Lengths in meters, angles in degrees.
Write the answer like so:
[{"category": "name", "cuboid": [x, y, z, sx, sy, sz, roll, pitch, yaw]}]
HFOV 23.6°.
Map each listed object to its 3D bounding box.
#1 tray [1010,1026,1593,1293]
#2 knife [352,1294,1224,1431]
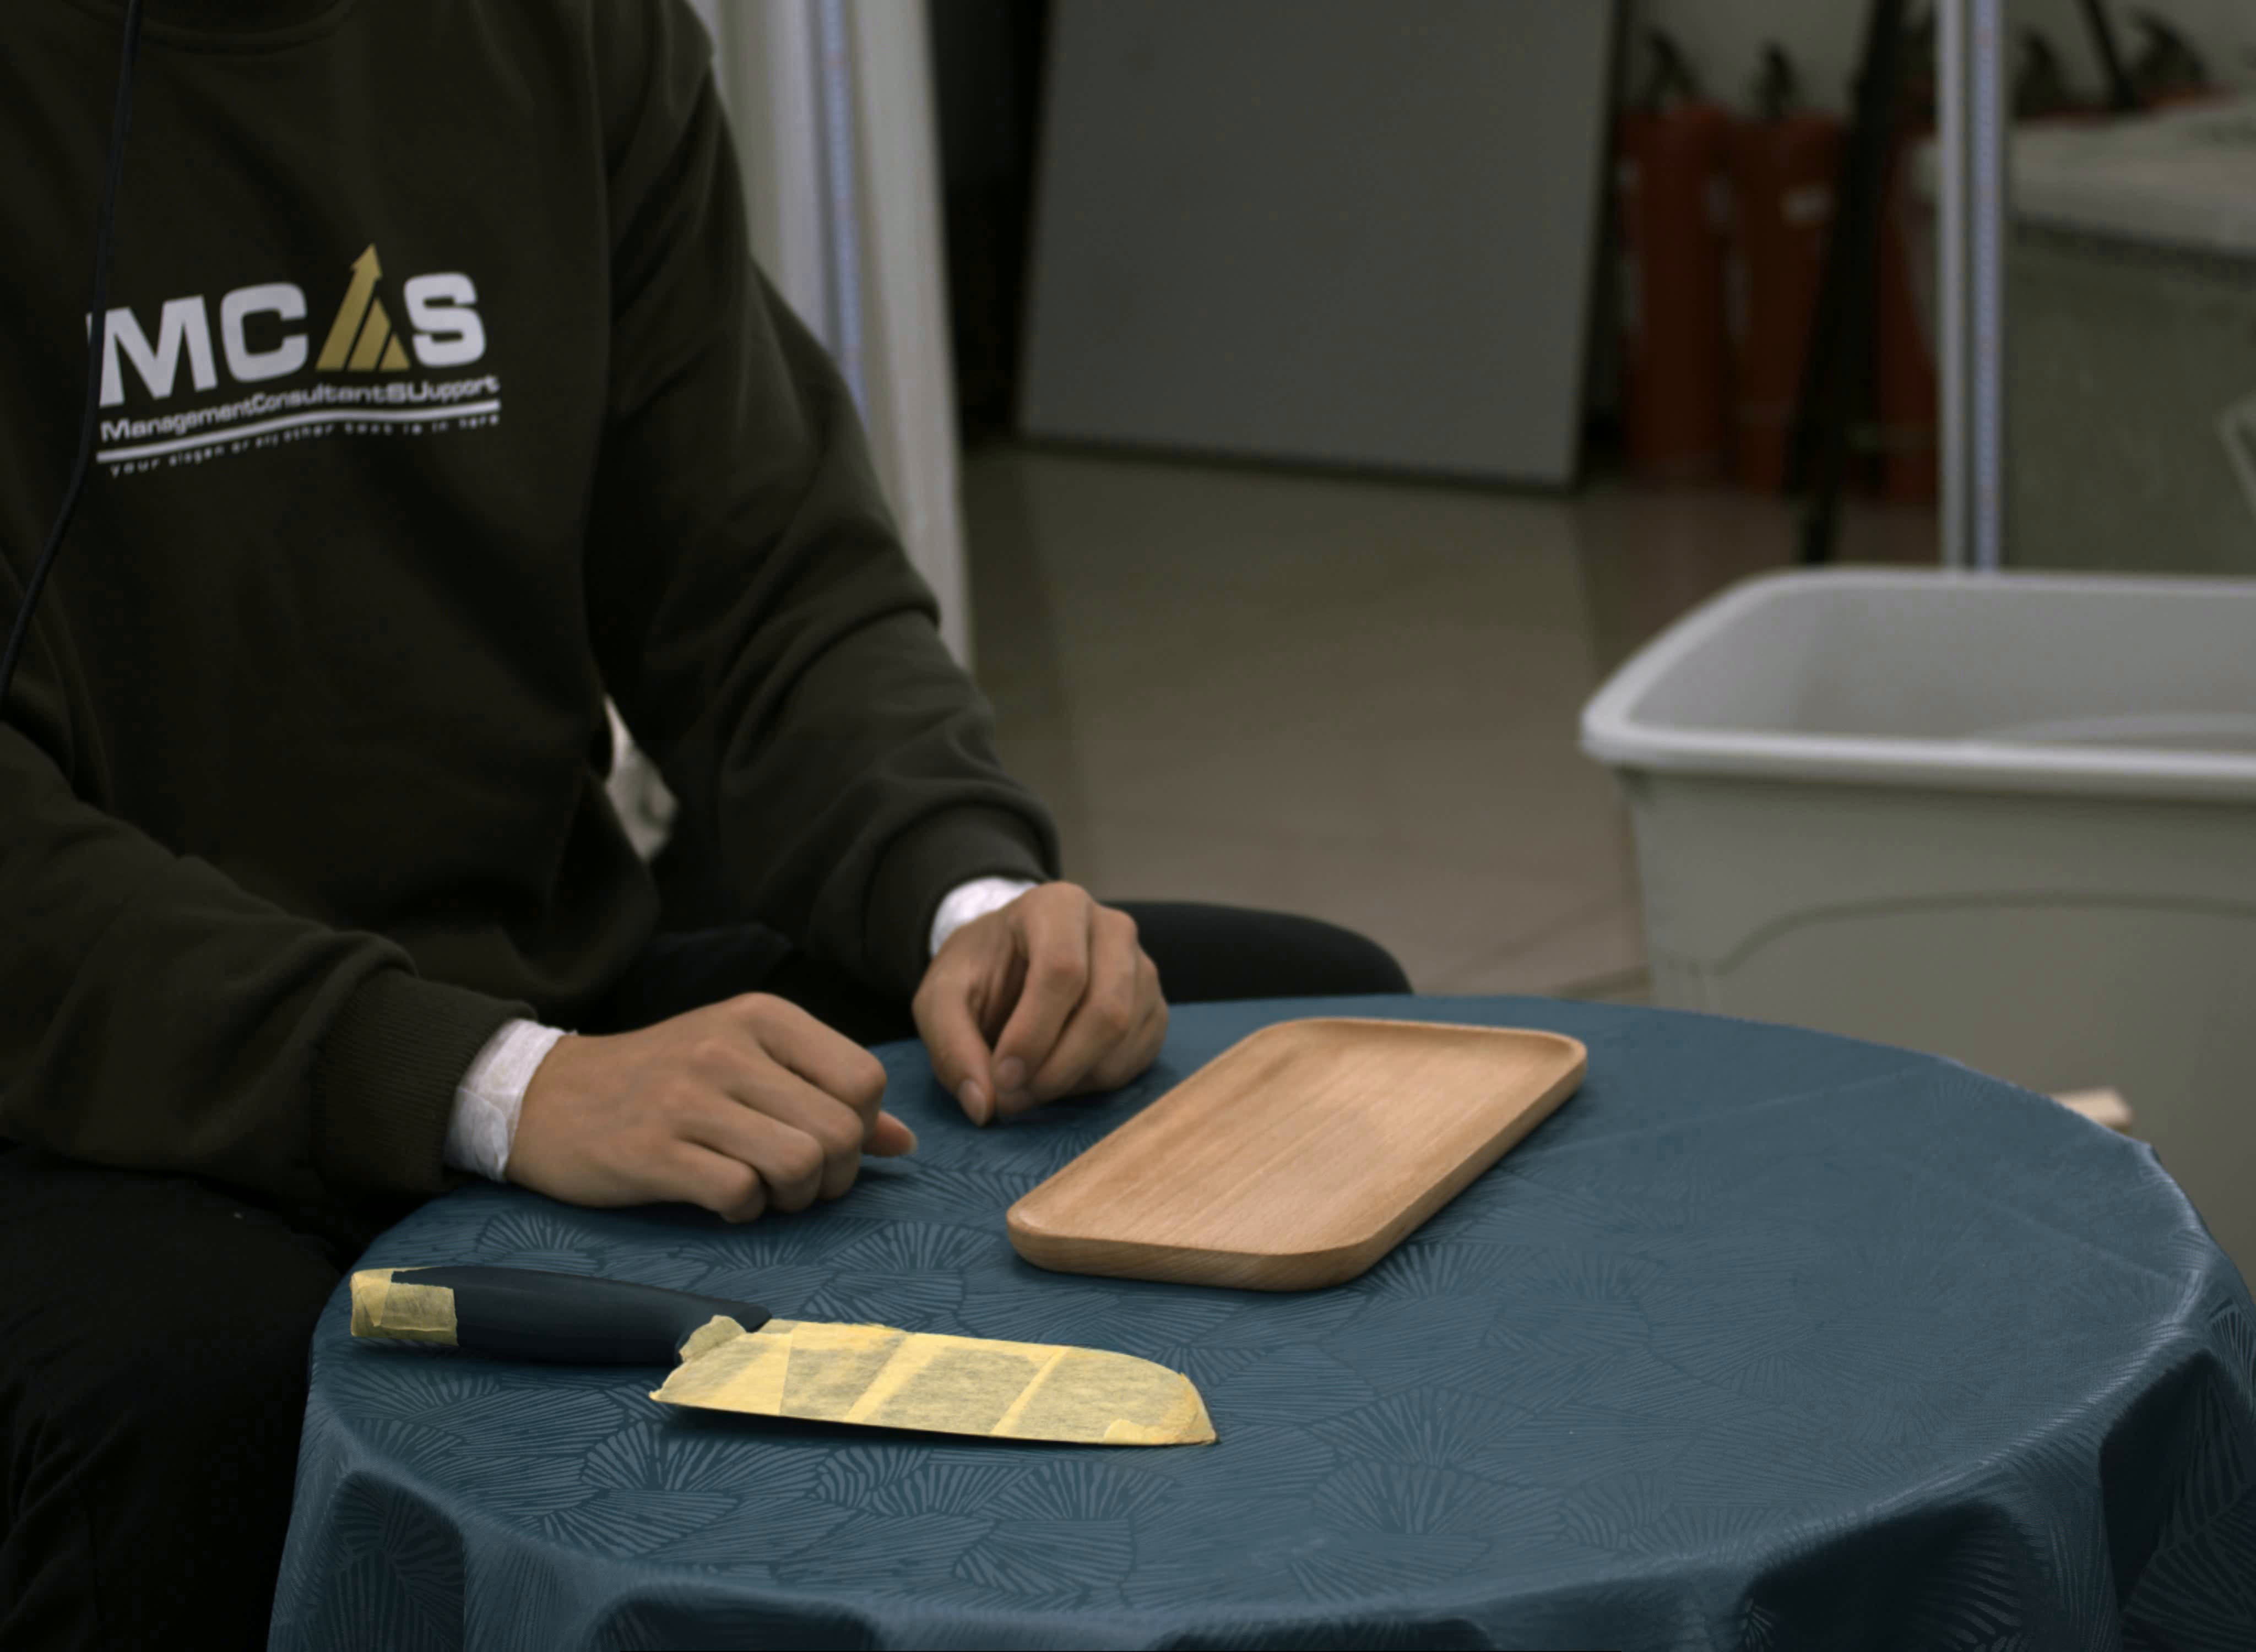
[{"category": "tray", "cuboid": [0.062, 0.108, 1.779, 0.131, 0.023, 0.247, -1, 14, 26]}, {"category": "knife", "cuboid": [-0.107, 0.163, 1.605, 0.289, 0.027, 0.080, 2, 13, 21]}]
